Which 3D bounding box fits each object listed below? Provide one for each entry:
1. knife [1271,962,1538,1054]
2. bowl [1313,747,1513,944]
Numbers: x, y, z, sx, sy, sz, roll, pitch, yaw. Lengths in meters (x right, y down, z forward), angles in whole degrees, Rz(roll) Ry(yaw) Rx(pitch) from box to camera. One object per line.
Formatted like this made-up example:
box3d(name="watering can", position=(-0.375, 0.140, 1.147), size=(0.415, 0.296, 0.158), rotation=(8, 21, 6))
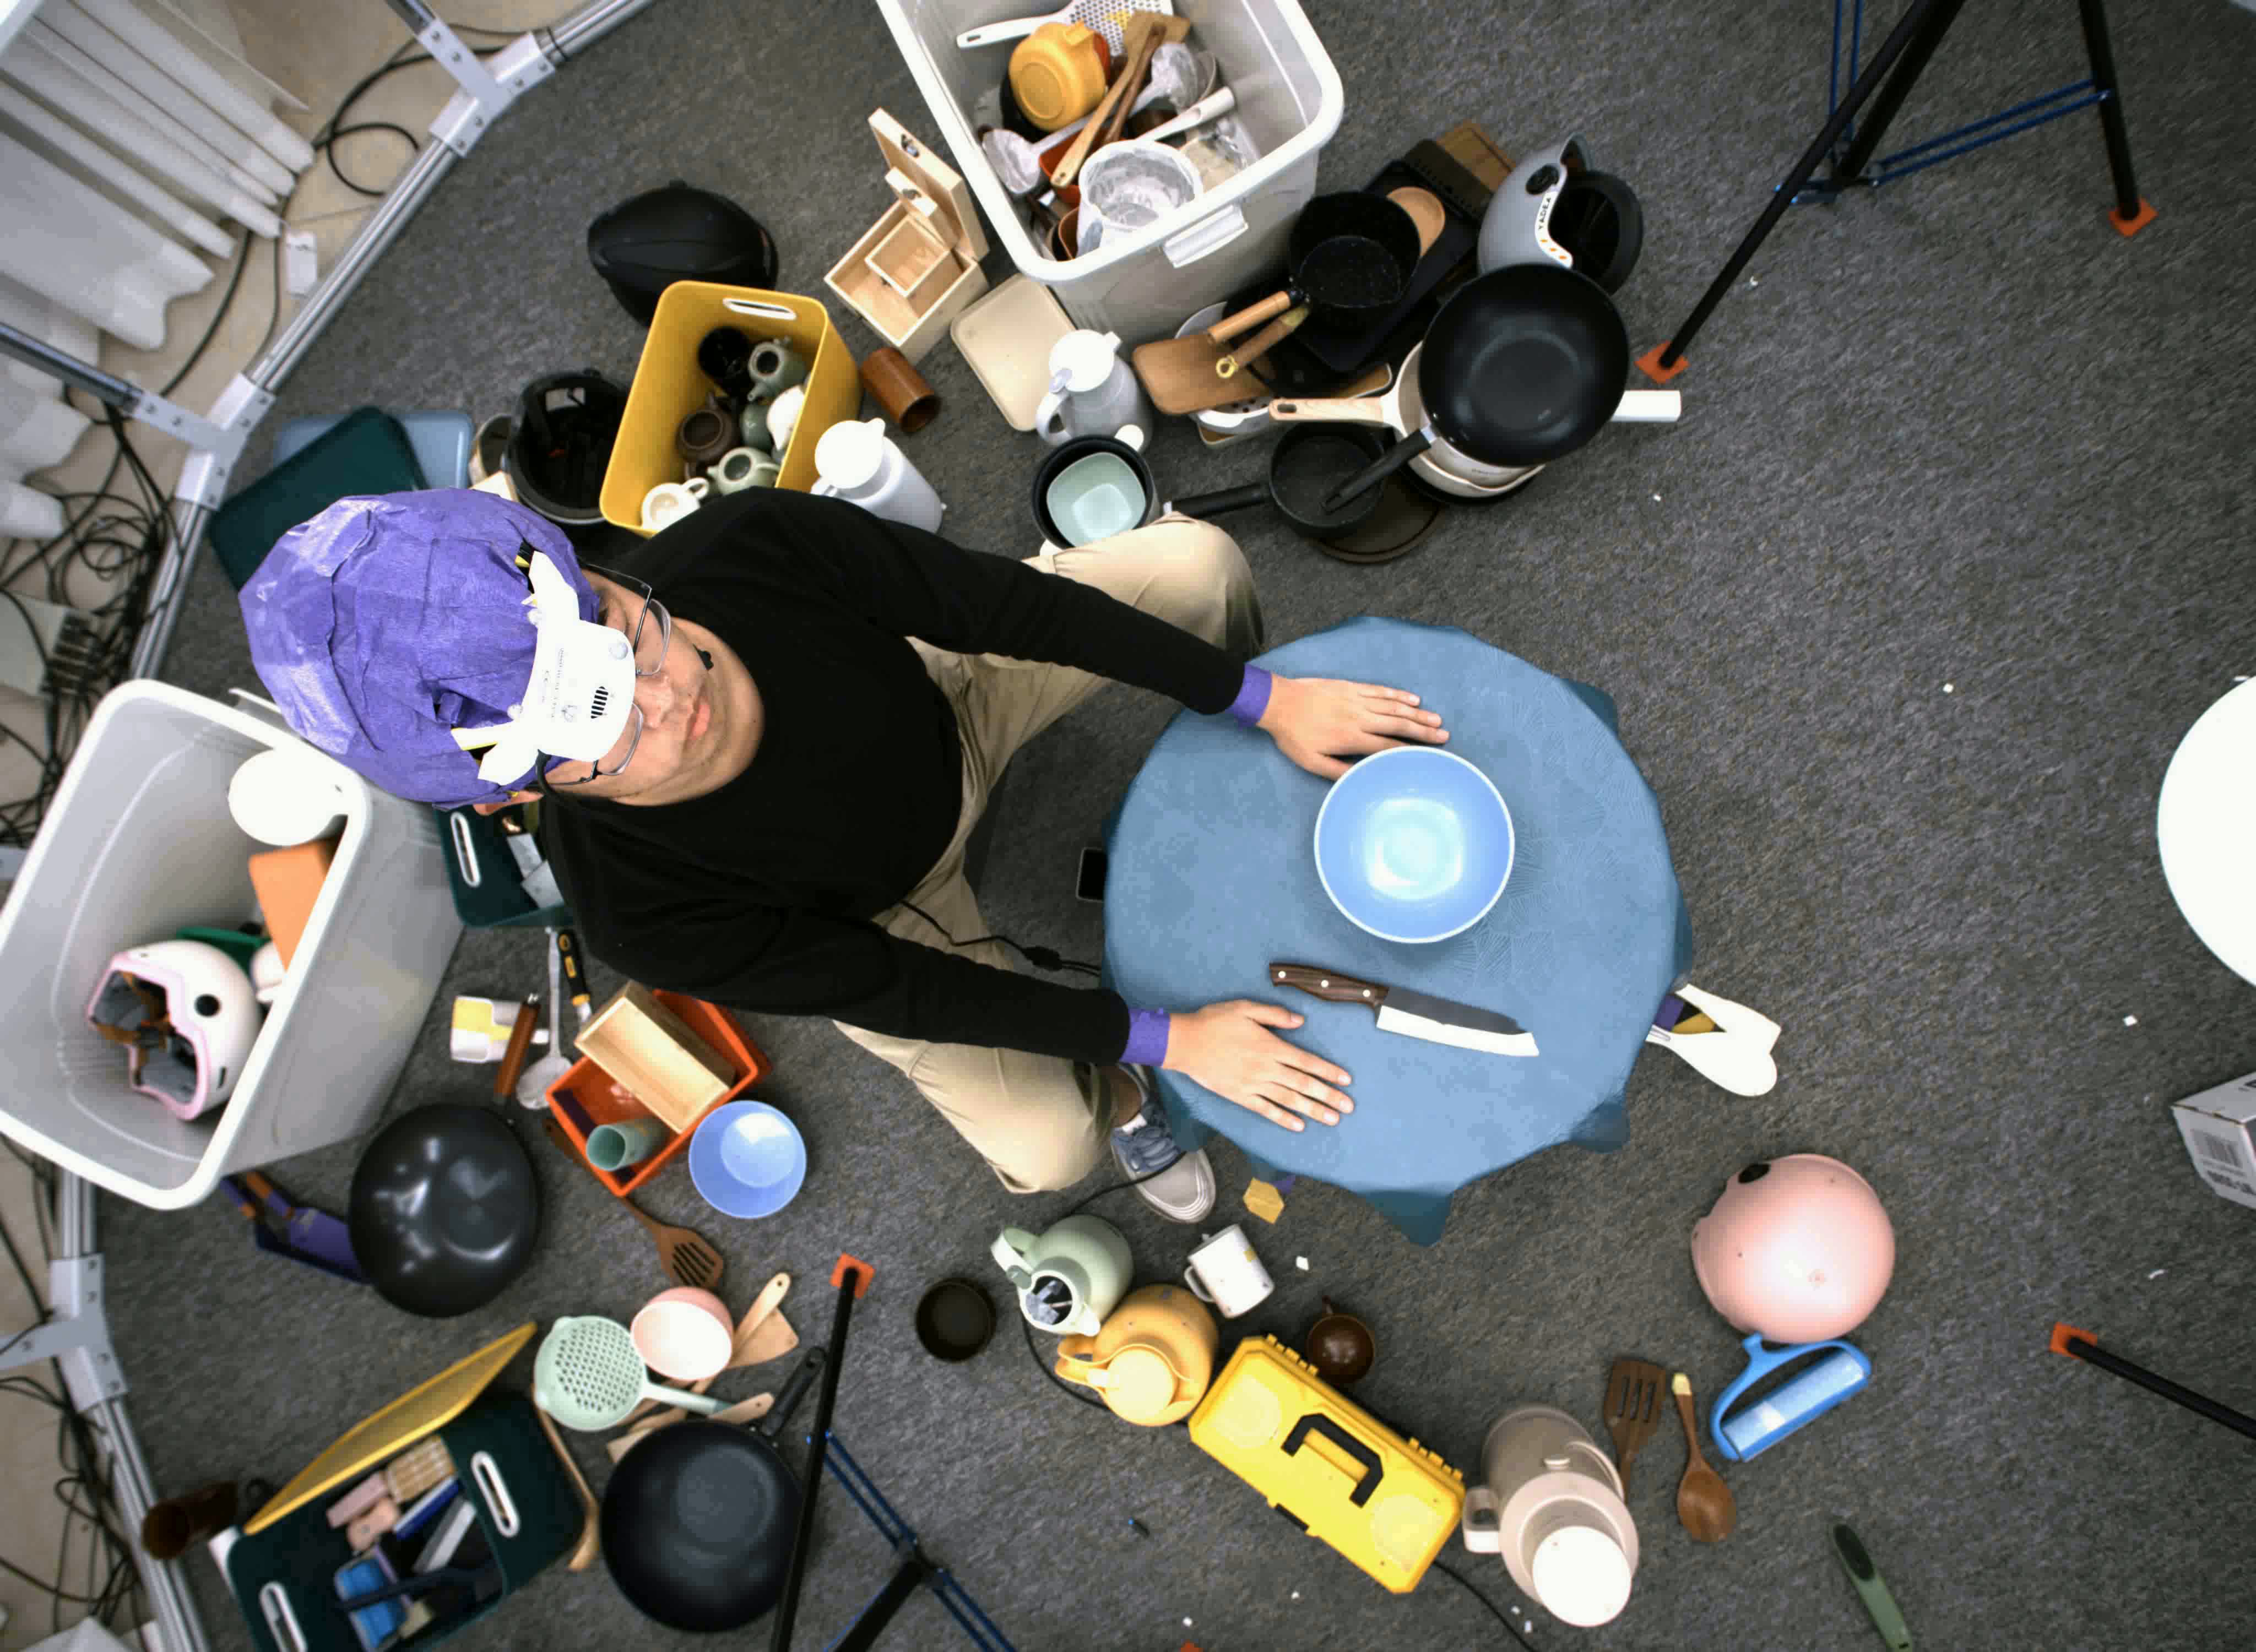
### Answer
box3d(name="knife", position=(0.287, 0.189, 1.445), size=(0.289, 0.020, 0.050), rotation=(16, 95, 9))
box3d(name="bowl", position=(0.292, 0.021, 1.414), size=(0.197, 0.095, 0.196), rotation=(-1, 87, 12))
